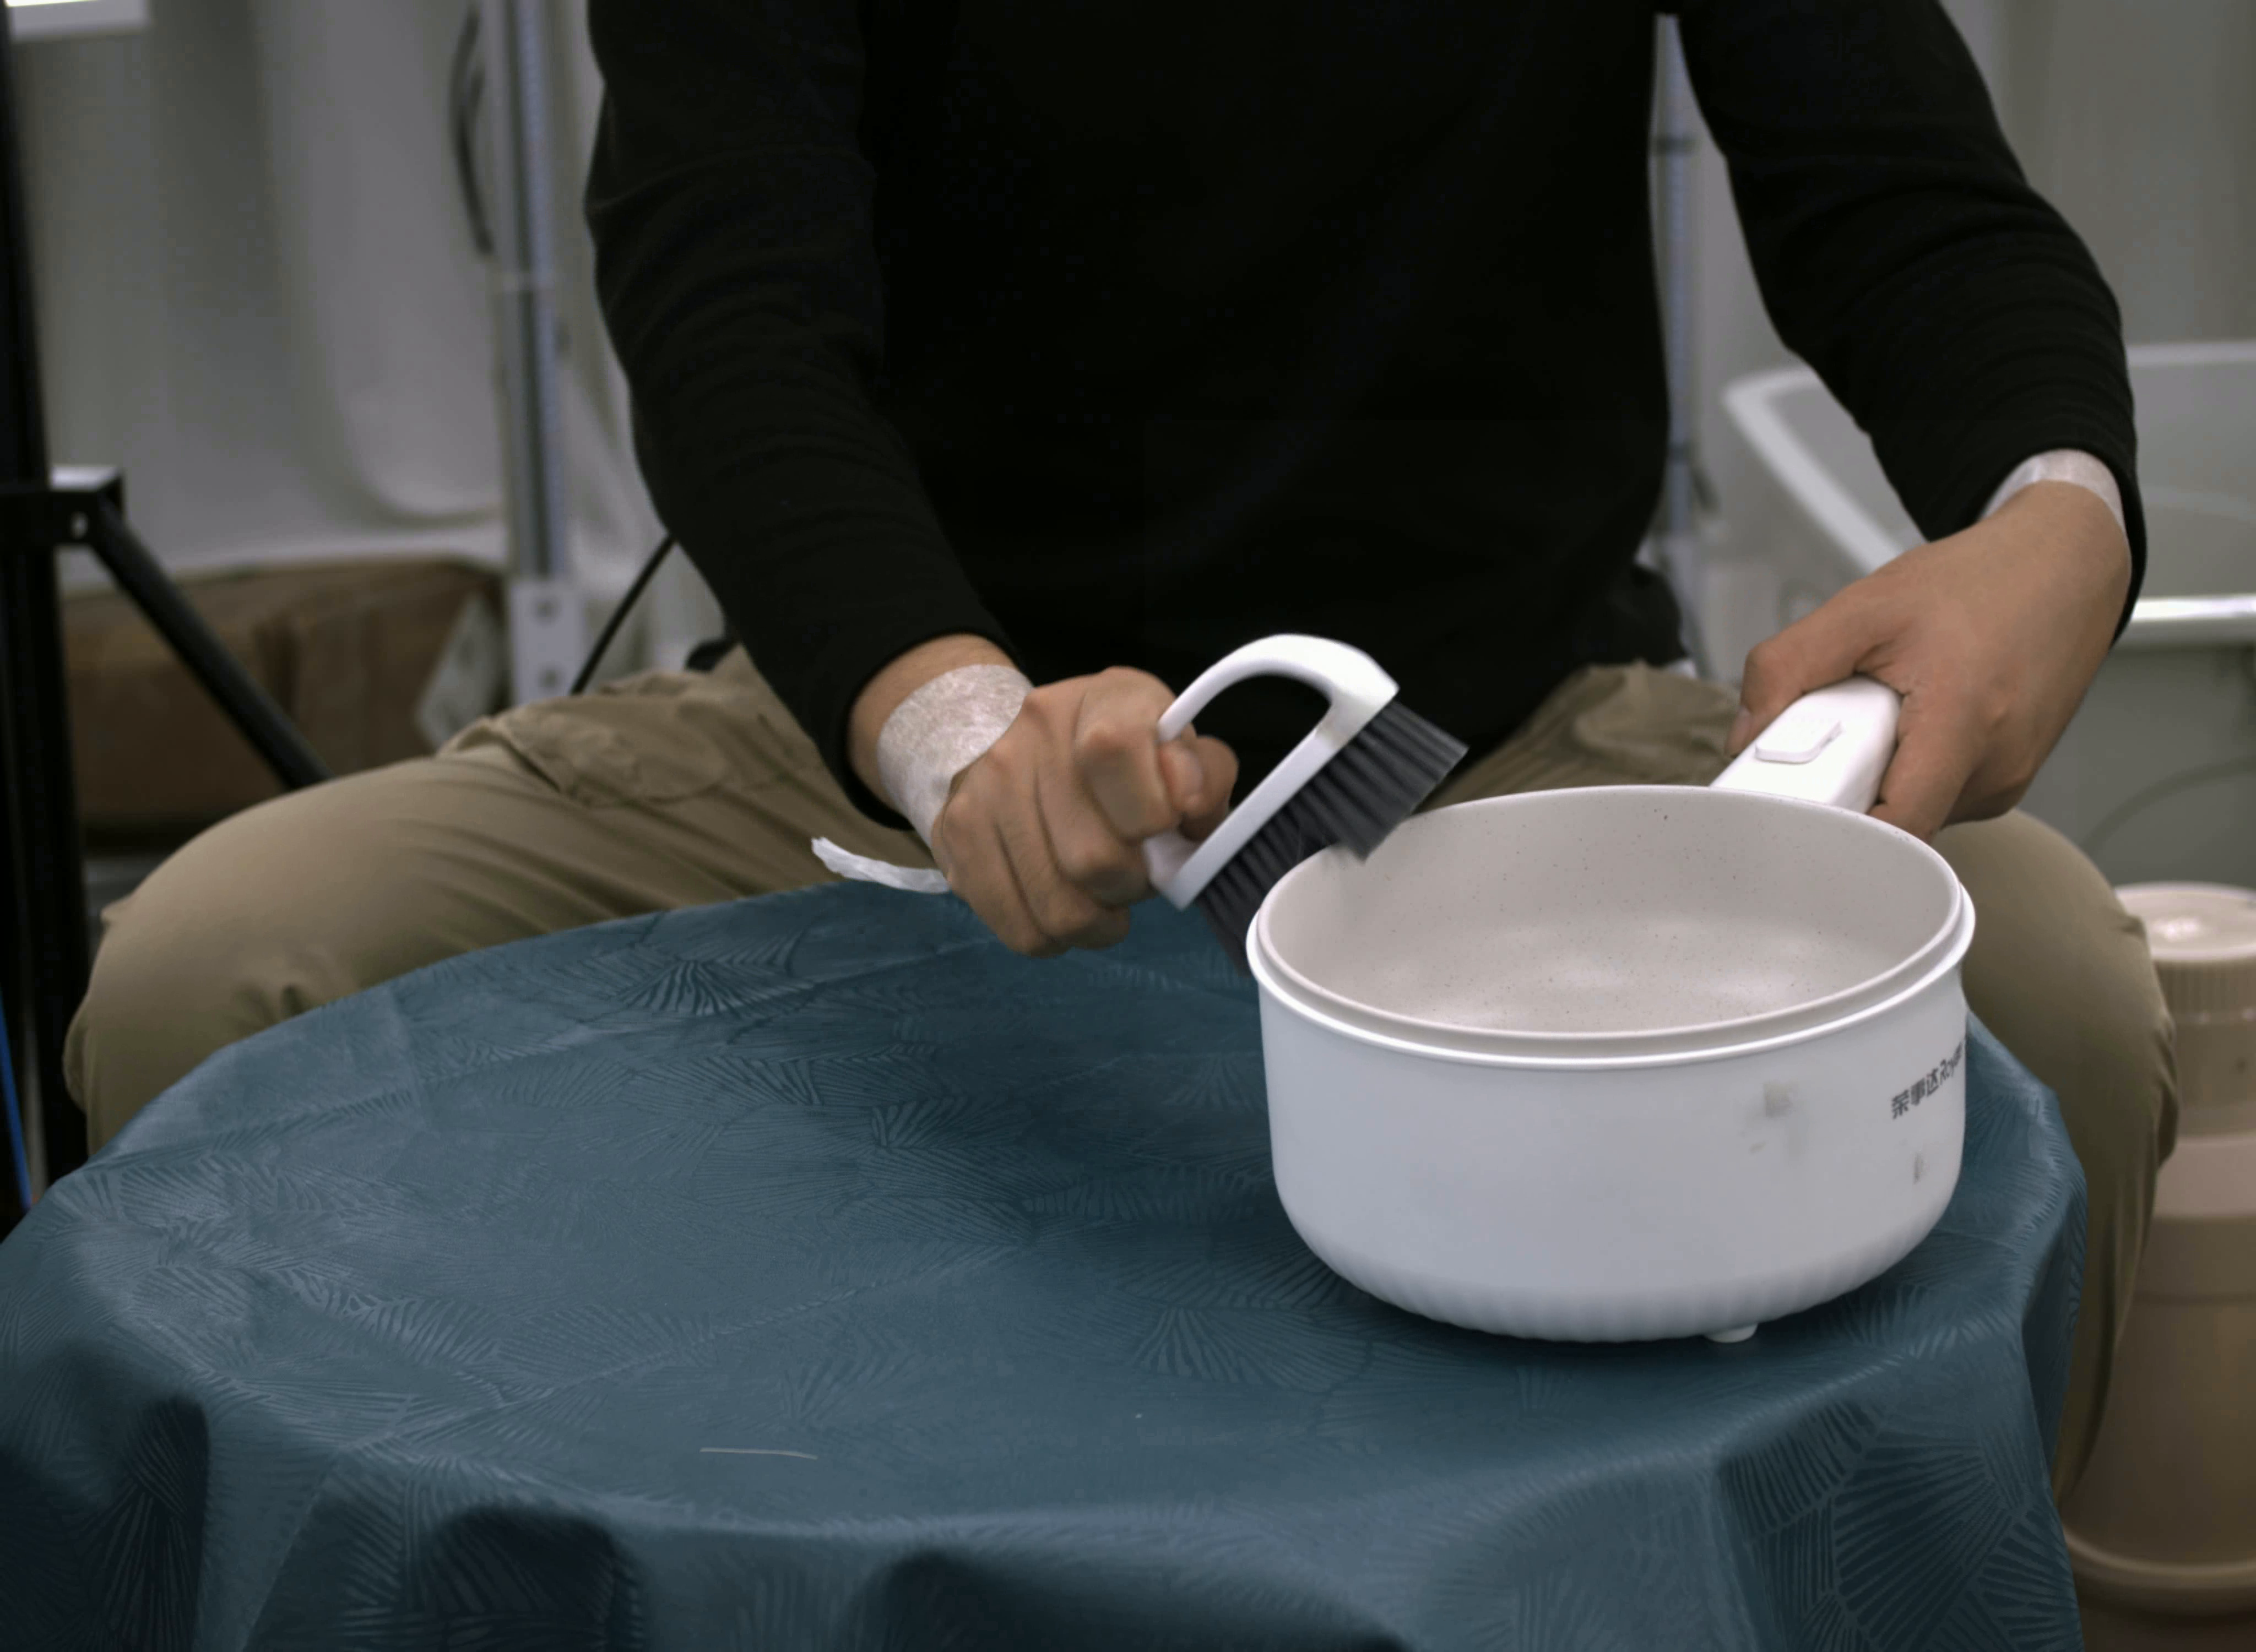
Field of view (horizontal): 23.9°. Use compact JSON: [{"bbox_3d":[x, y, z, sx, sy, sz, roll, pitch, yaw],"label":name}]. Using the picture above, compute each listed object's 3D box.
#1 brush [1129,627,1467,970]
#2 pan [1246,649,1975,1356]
[{"bbox_3d":[0.042,-0.015,1.545,0.073,0.100,0.049,45,34,4],"label":"brush"},{"bbox_3d":[0.170,0.047,1.537,0.204,0.102,0.349,3,20,27],"label":"pan"}]
